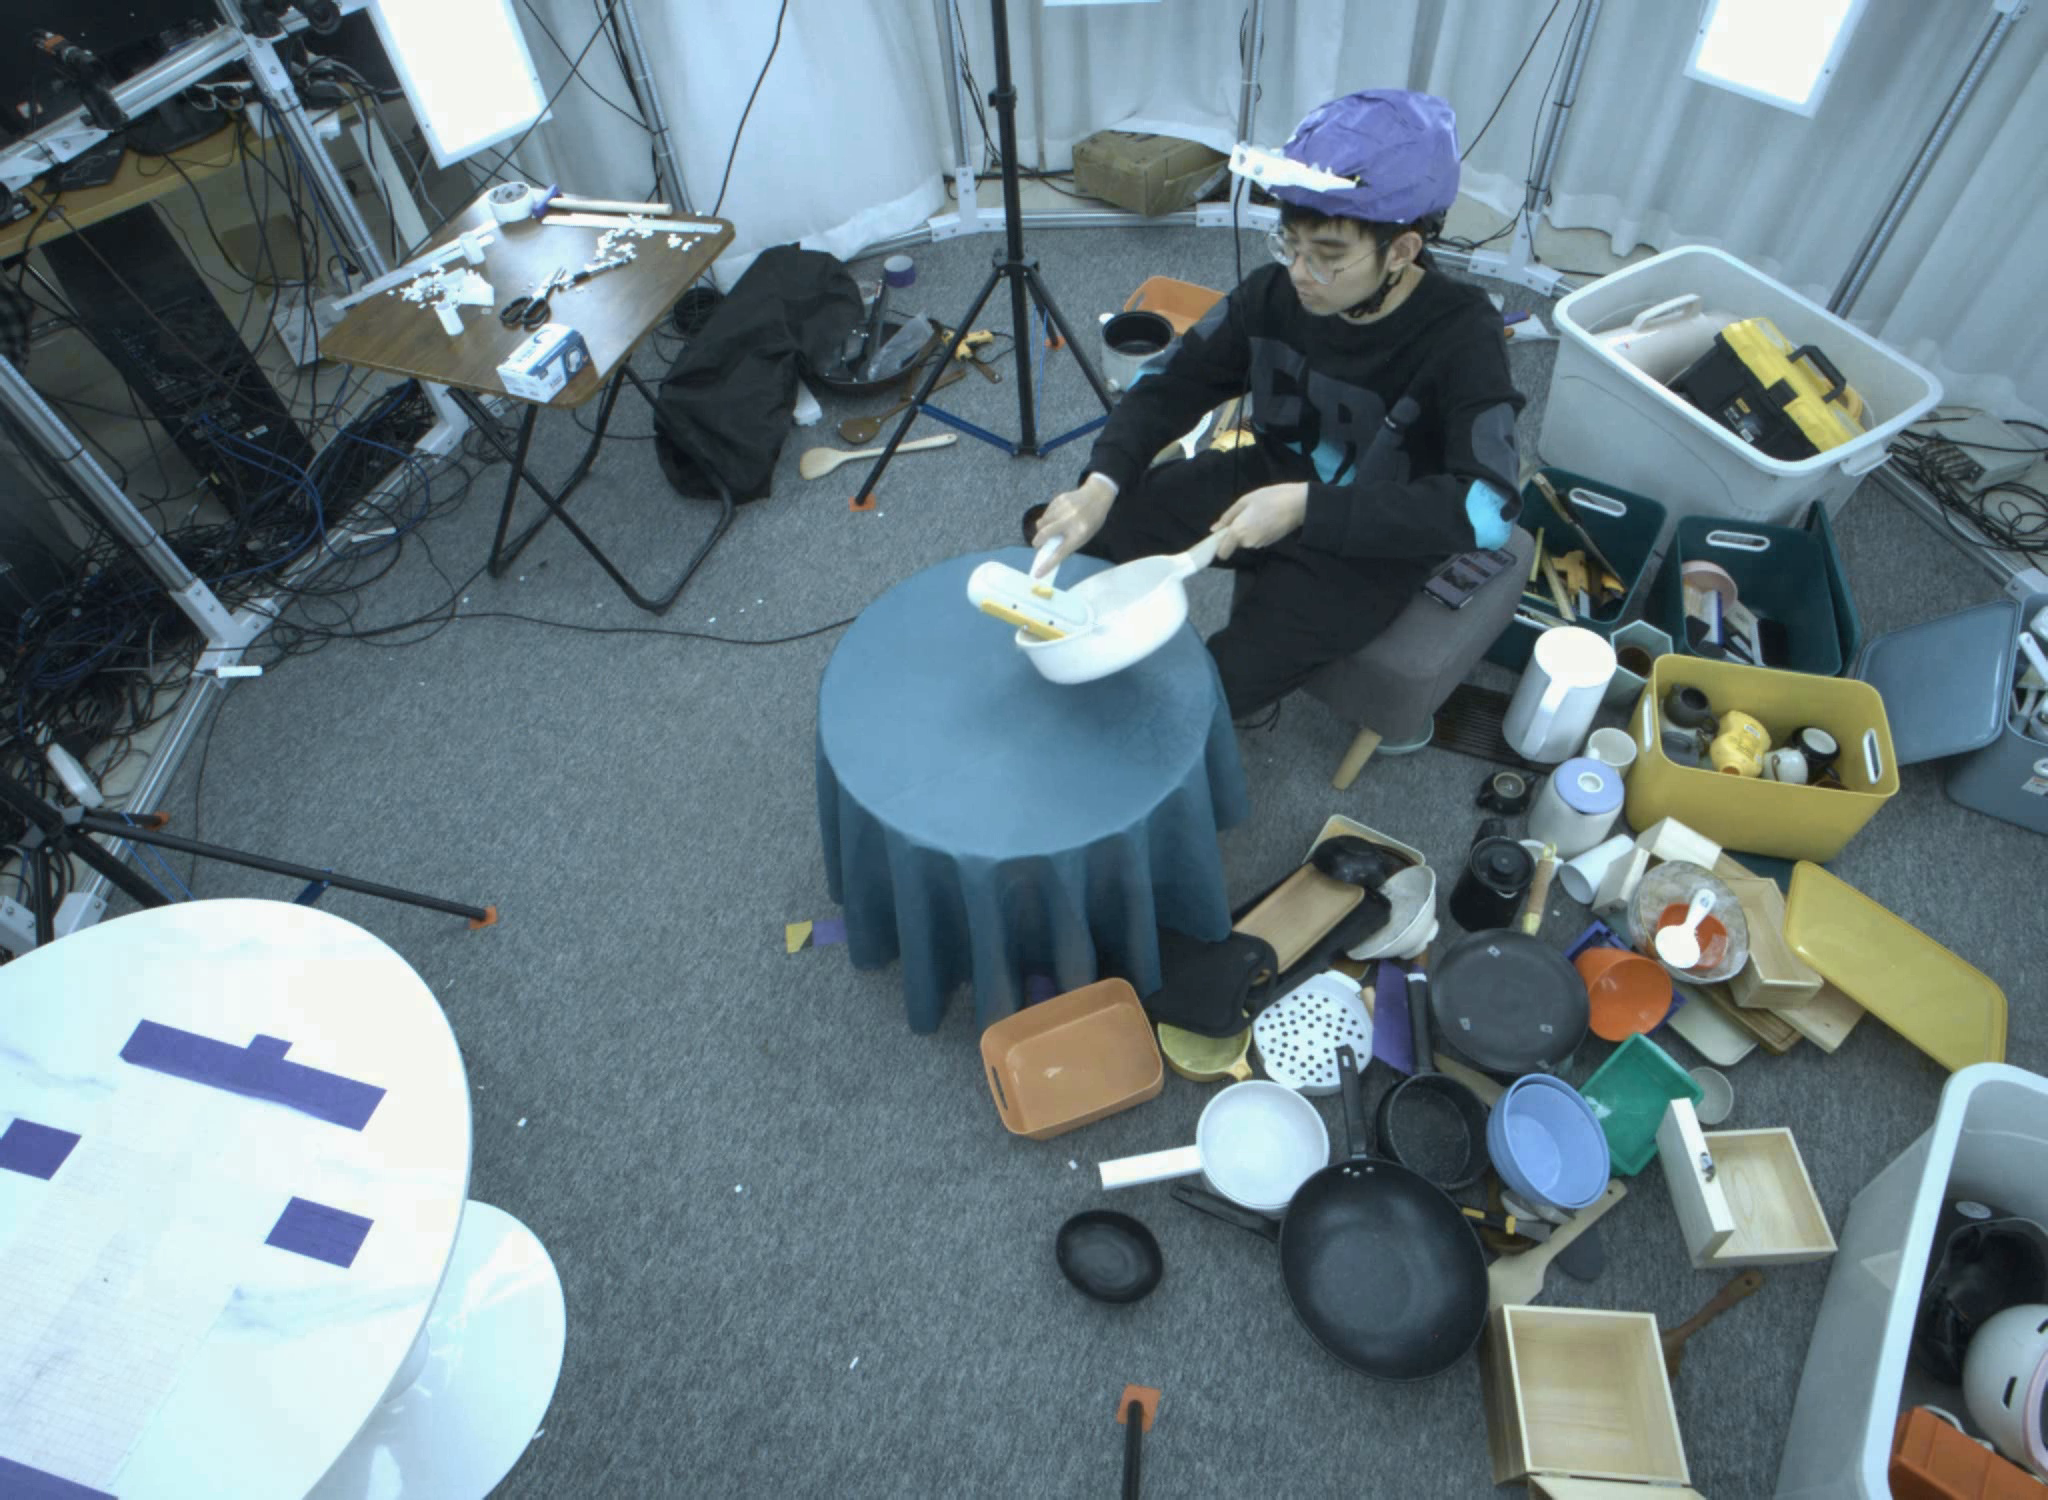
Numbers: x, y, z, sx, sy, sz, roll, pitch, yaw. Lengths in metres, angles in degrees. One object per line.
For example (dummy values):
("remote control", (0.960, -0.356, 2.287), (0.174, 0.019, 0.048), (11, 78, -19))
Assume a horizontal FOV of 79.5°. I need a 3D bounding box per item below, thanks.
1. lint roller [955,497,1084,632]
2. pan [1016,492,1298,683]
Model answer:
("lint roller", (0.014, -0.285, 1.791), (0.193, 0.074, 0.192), (22, 62, 1))
("pan", (0.197, -0.222, 1.718), (0.433, 0.103, 0.261), (-25, 18, 8))
